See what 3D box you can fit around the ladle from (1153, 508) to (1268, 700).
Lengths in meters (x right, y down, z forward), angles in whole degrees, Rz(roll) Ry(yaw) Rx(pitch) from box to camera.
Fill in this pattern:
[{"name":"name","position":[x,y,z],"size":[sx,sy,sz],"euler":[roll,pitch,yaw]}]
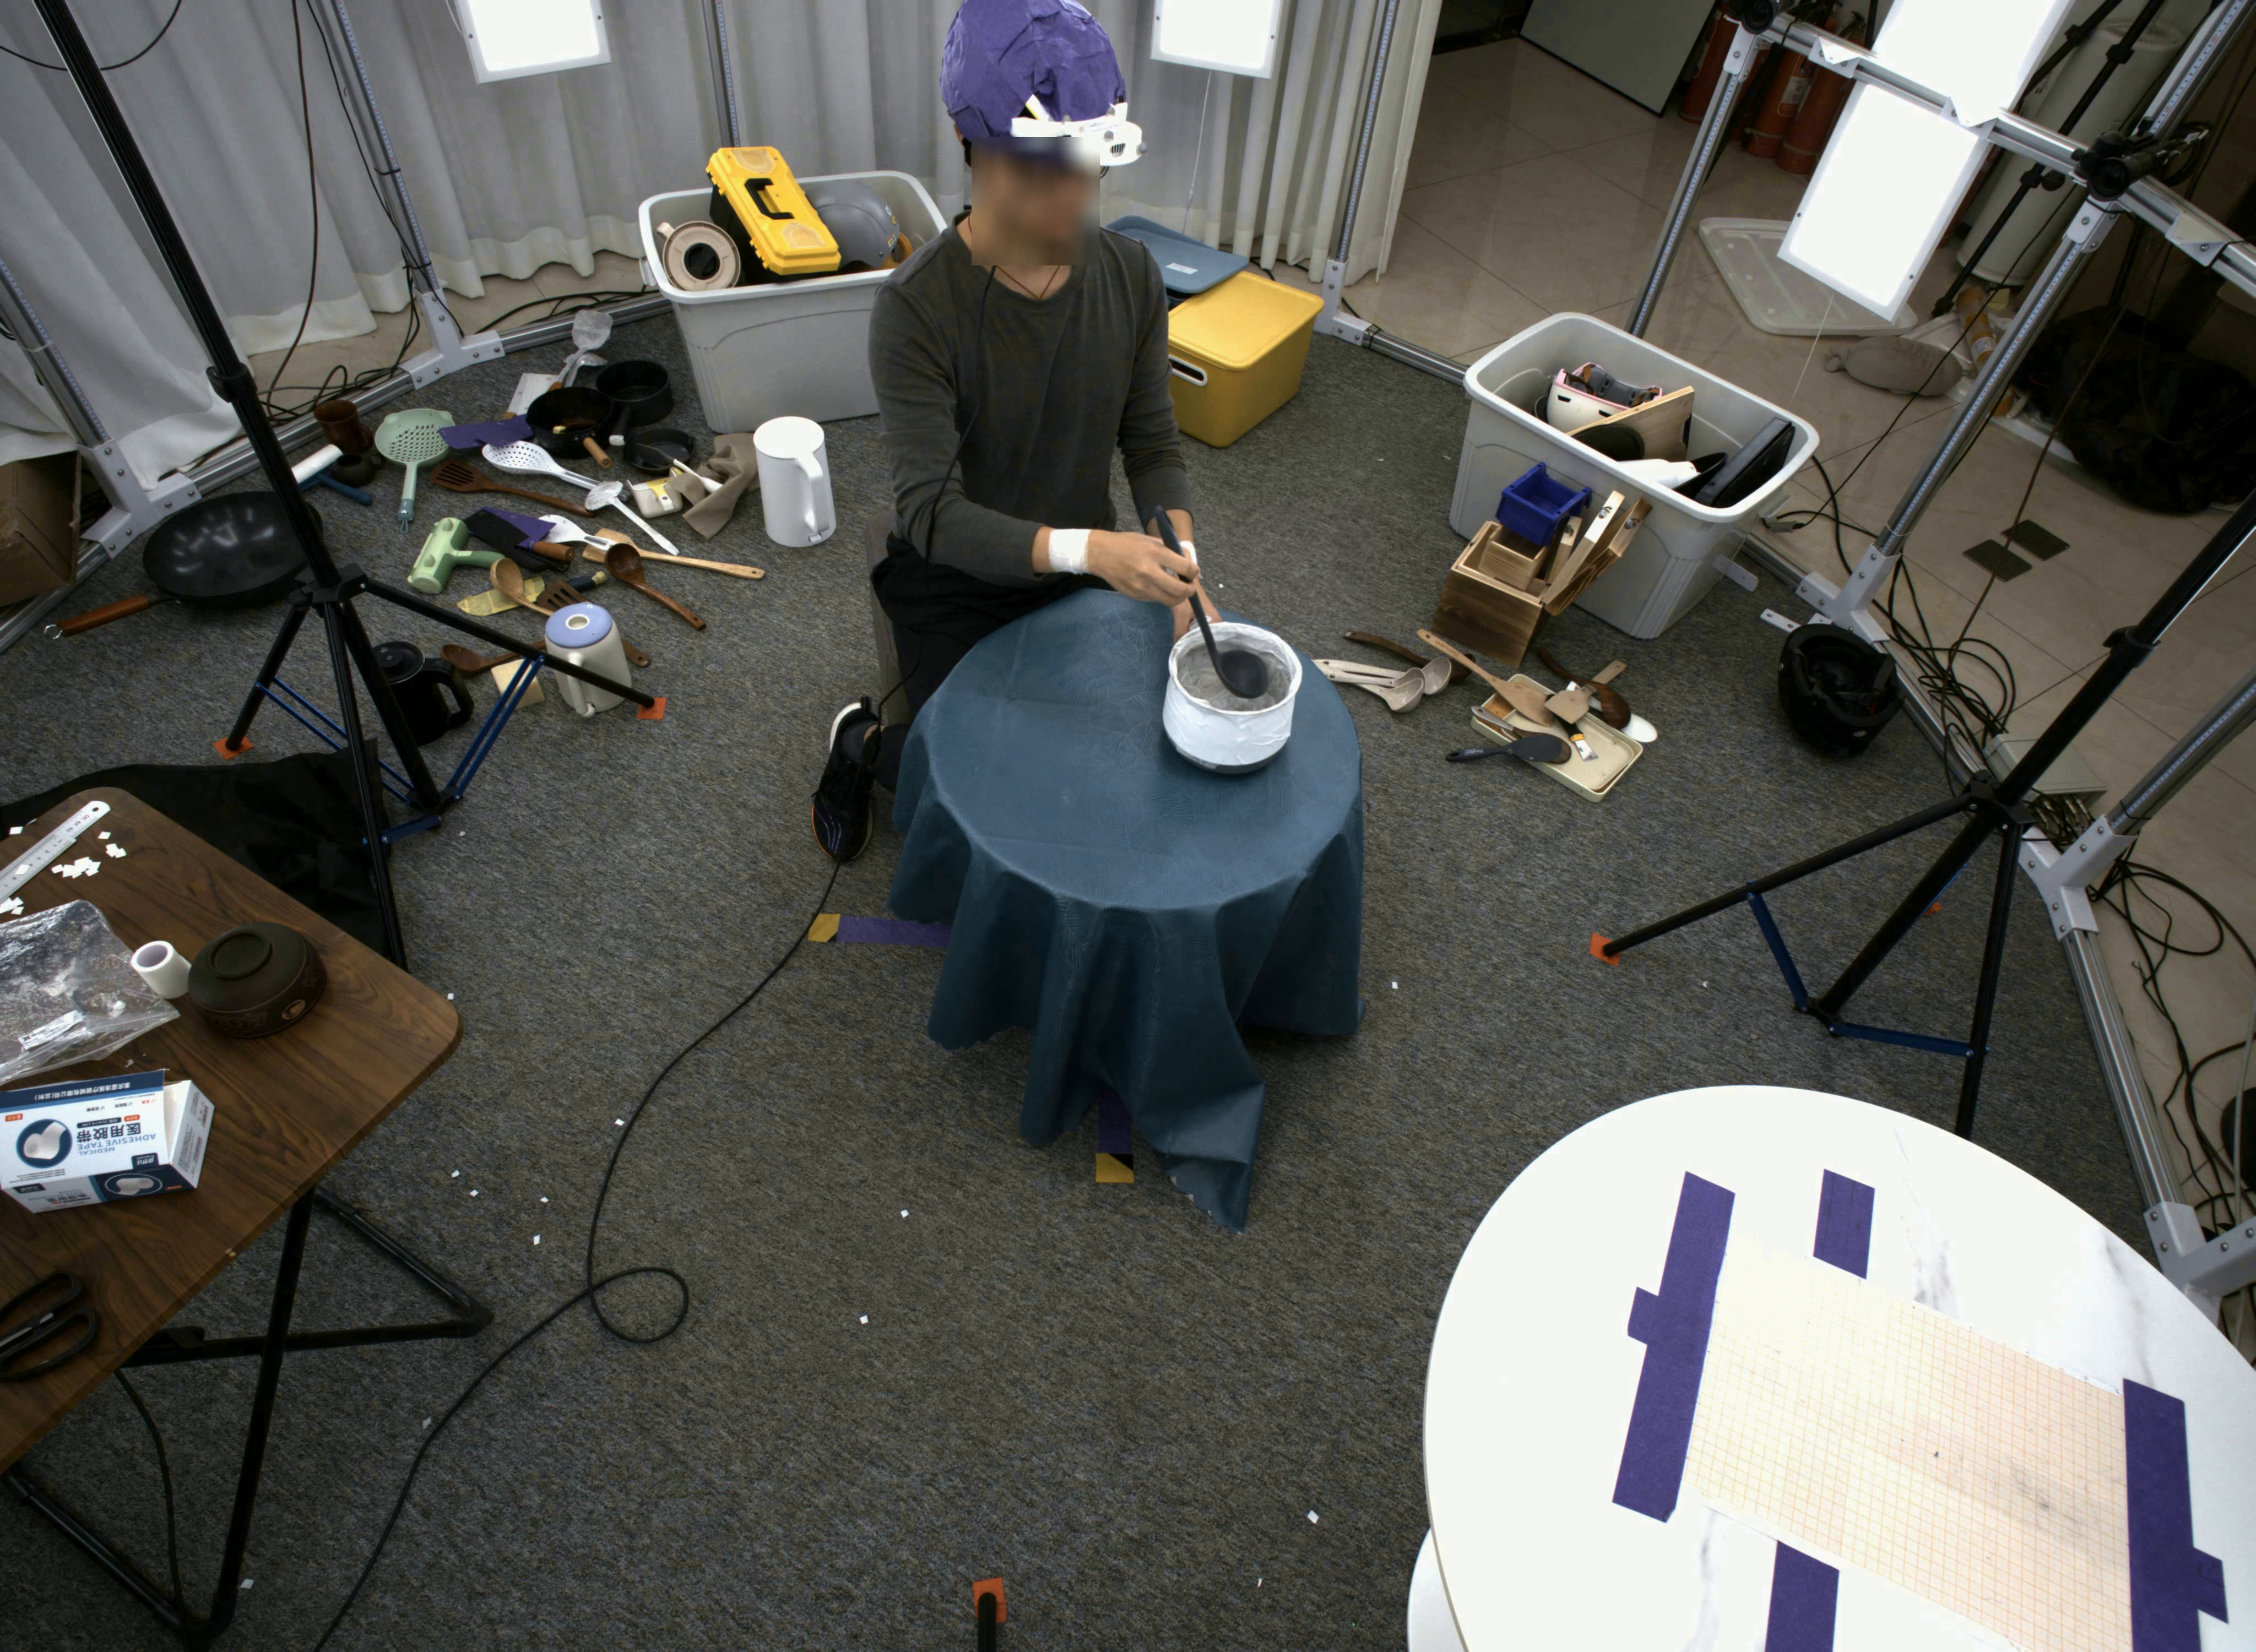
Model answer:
[{"name":"ladle","position":[0.108,-0.283,1.632],"size":[0.064,0.306,0.088],"euler":[-15,44,13]}]

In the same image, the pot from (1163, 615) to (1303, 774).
[{"name":"pot","position":[0.128,-0.189,1.751],"size":[0.179,0.133,0.239],"euler":[-15,52,-16]}]
